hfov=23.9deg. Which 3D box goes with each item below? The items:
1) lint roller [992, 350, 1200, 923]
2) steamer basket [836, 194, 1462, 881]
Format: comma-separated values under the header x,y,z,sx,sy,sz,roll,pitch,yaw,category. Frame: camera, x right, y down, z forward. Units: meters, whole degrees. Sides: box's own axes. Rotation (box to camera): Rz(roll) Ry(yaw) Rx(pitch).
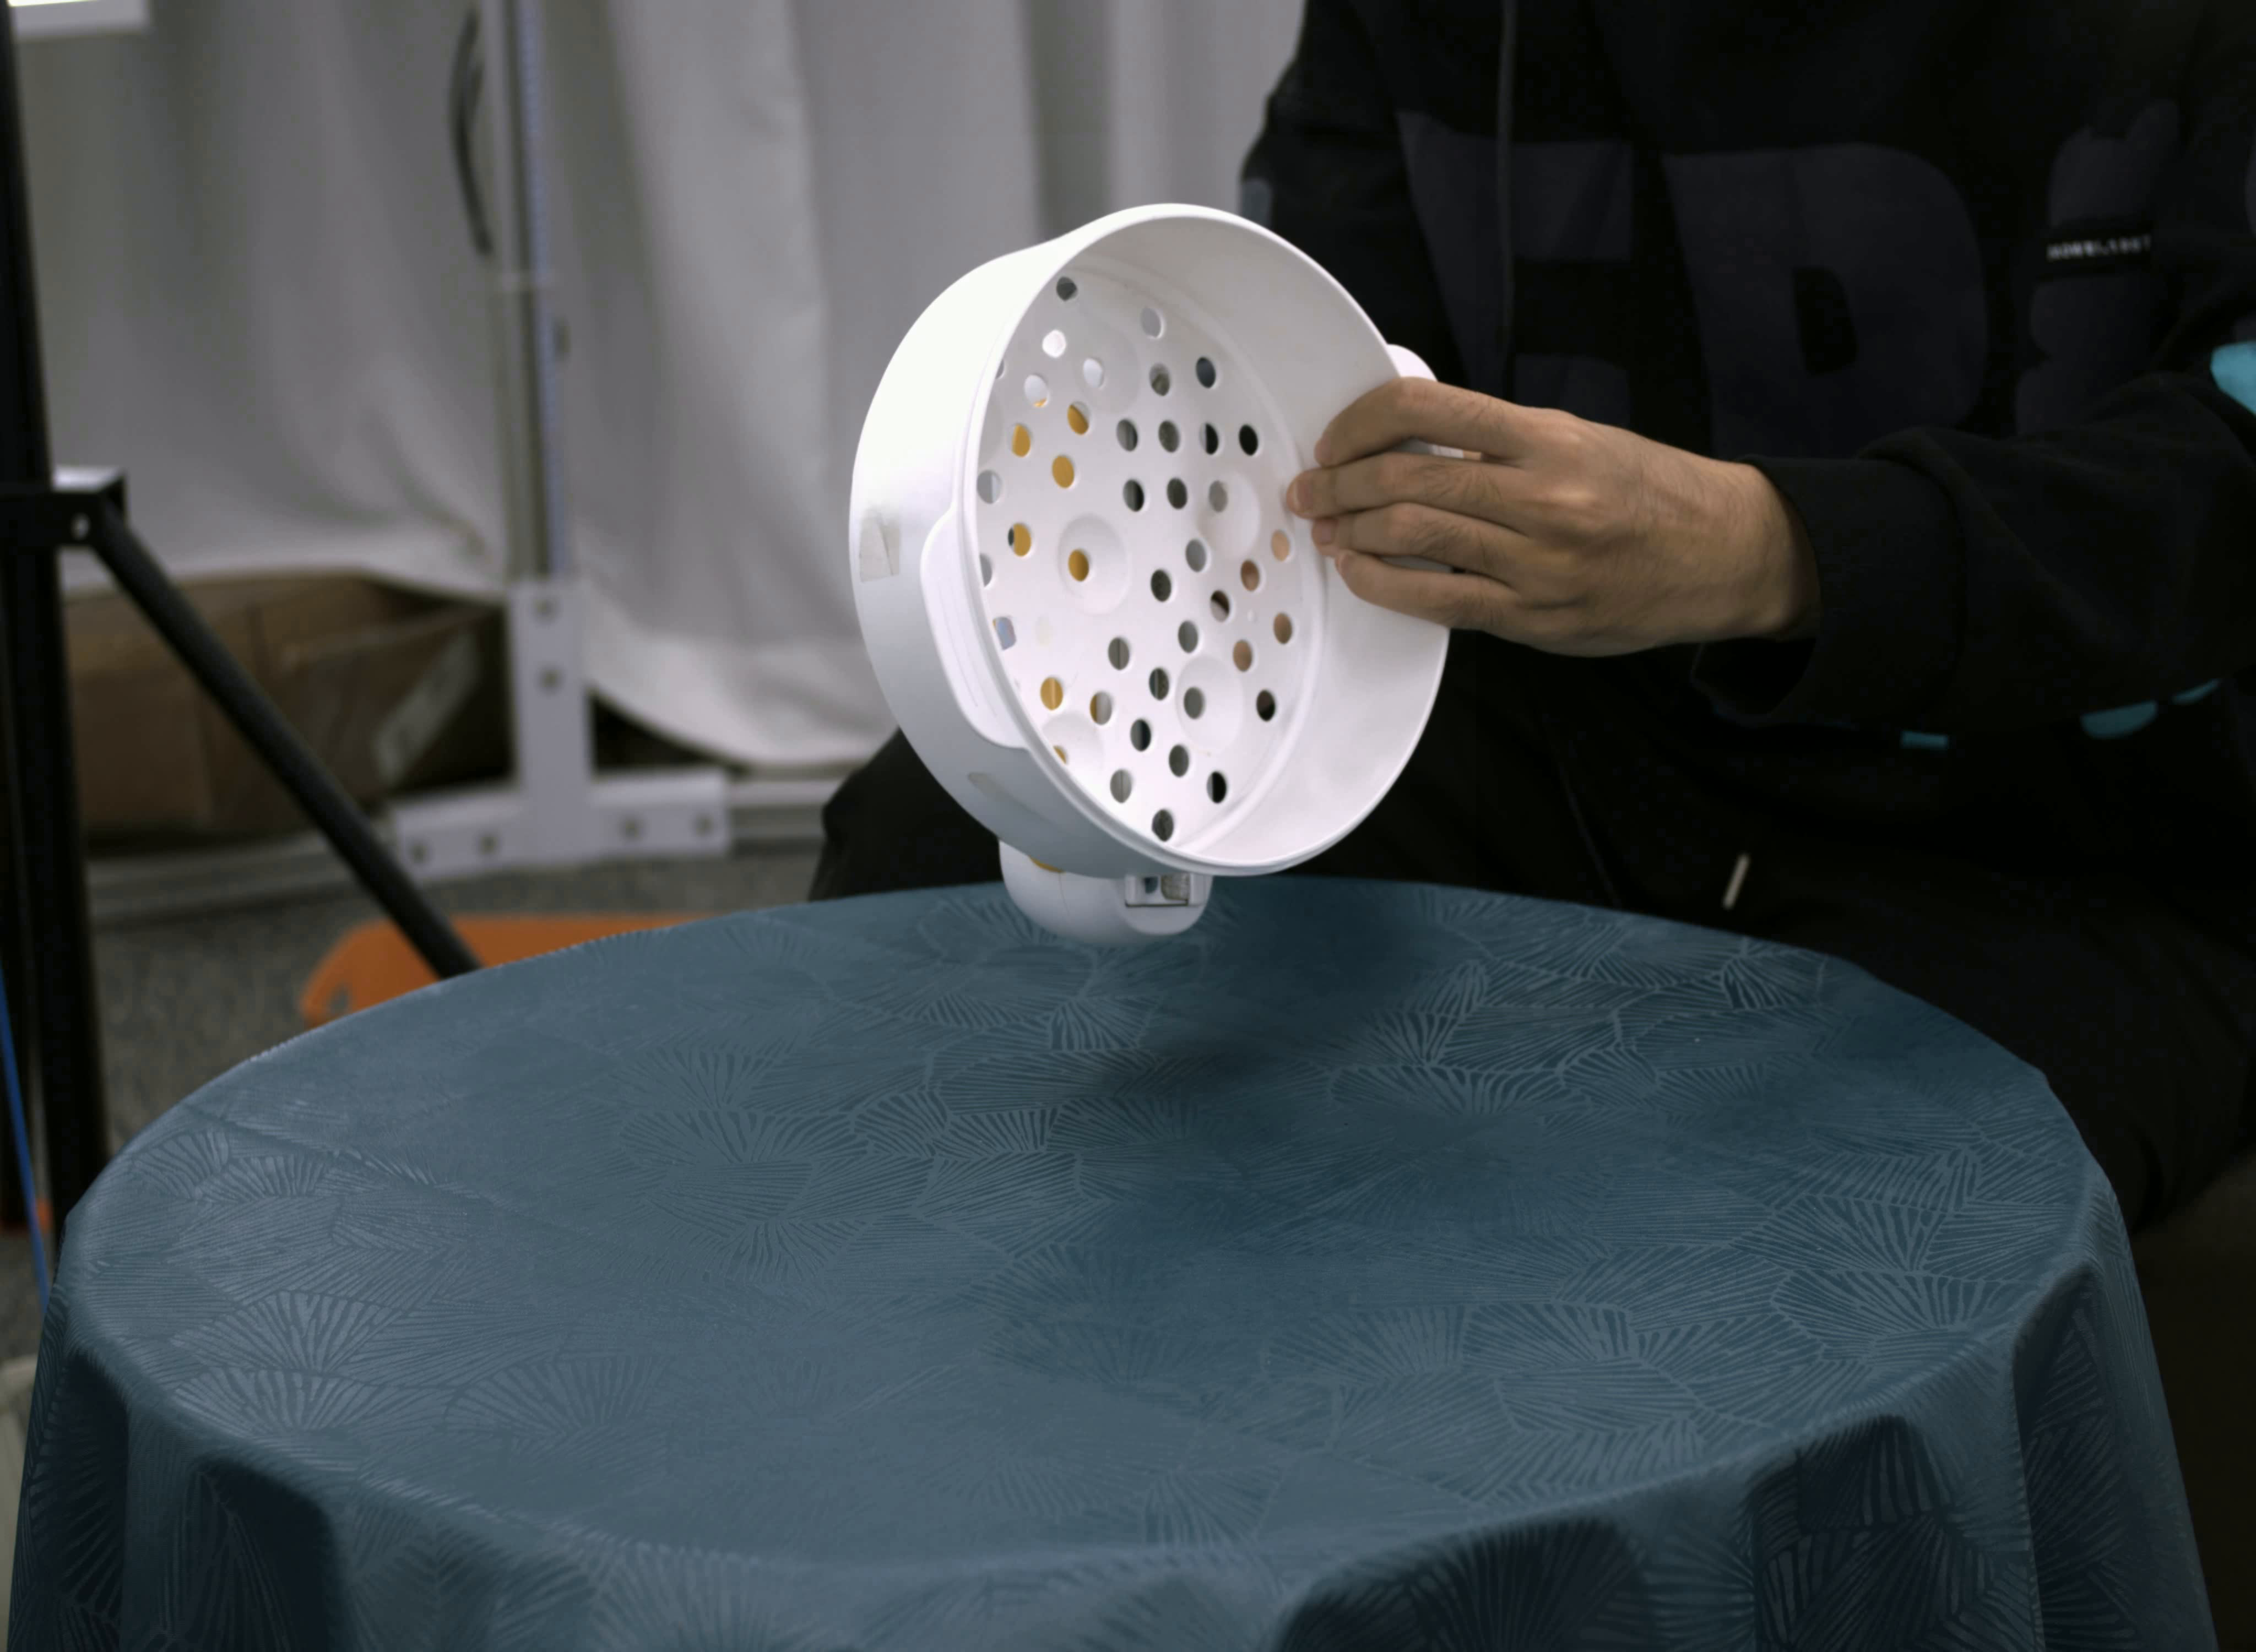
x,y,z,sx,sy,sz,roll,pitch,yaw,category
0.010,-0.061,1.721,0.075,0.194,0.188,-7,-8,25,lint roller
0.003,-0.082,1.589,0.226,0.202,0.070,-23,9,-41,steamer basket
